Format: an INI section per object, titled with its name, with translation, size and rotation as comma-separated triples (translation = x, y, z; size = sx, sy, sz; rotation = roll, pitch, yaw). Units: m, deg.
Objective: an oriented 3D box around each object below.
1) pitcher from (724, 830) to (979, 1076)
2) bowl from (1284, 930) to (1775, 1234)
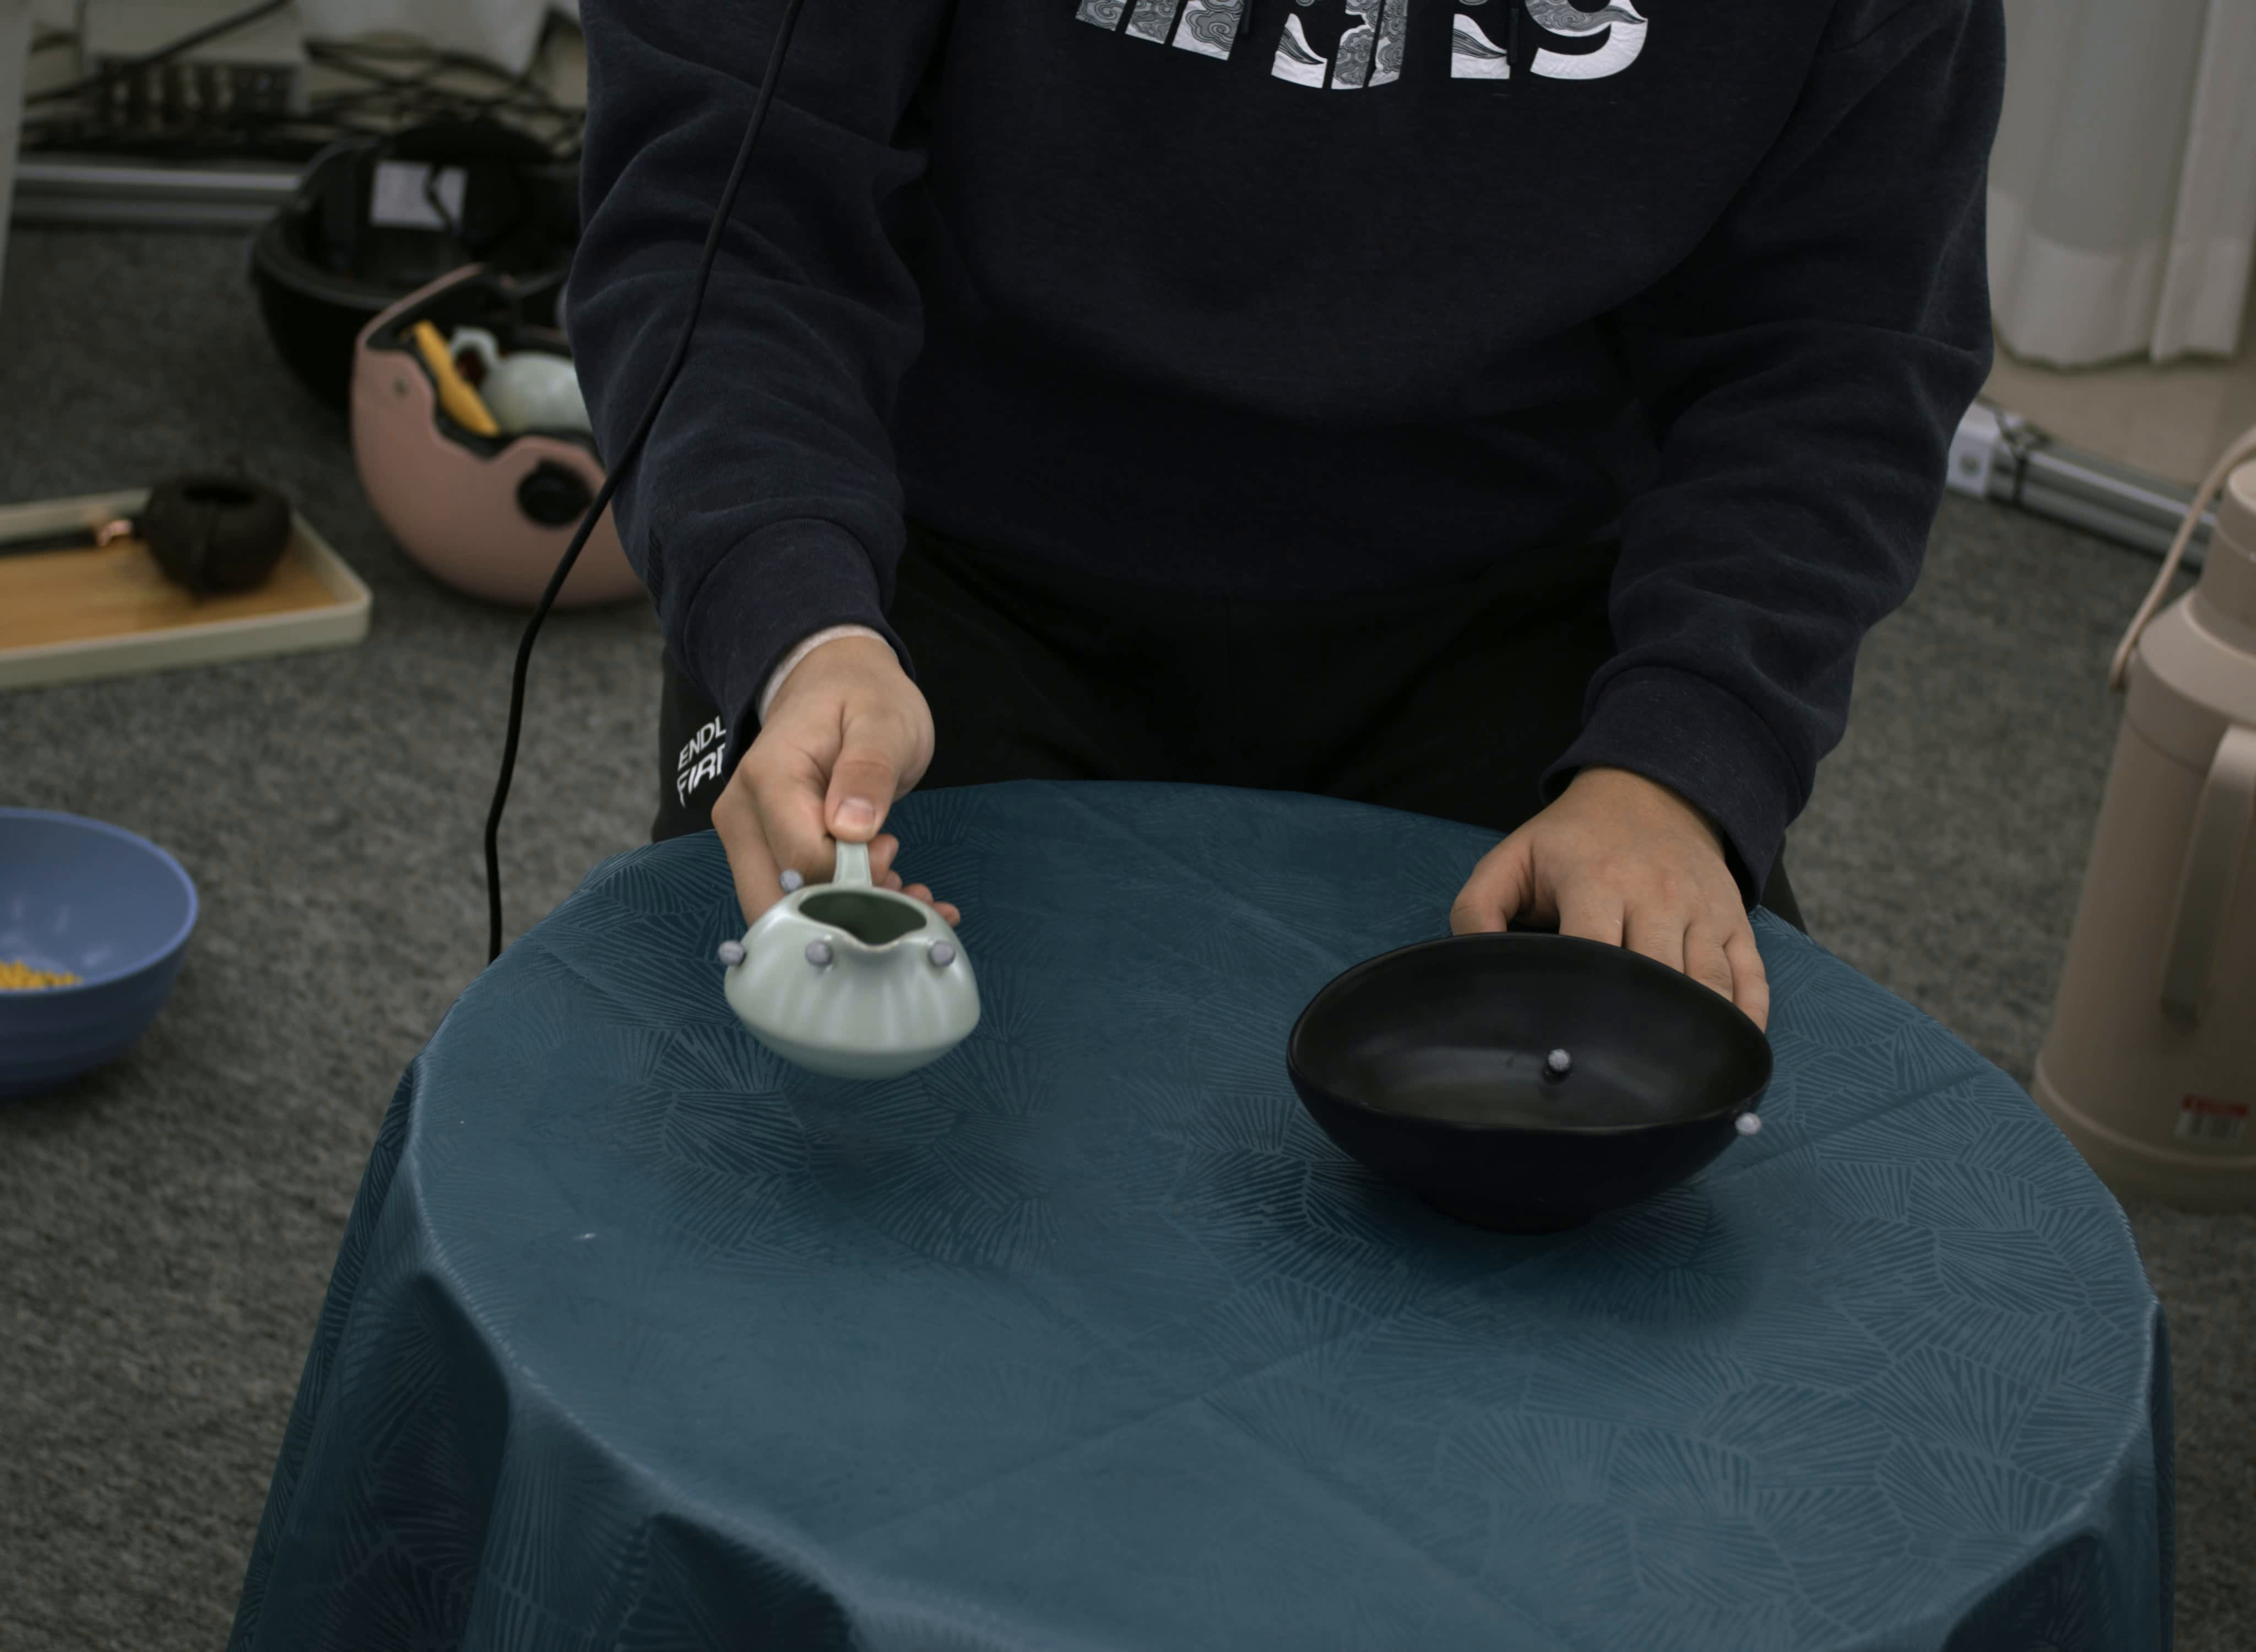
[pitcher]
translation = -0.093, 0.043, 1.782
size = 0.085, 0.060, 0.108
rotation = 5, 19, -11
[bowl]
translation = 0.136, 0.097, 1.823
size = 0.169, 0.066, 0.138
rotation = -2, 27, -15
